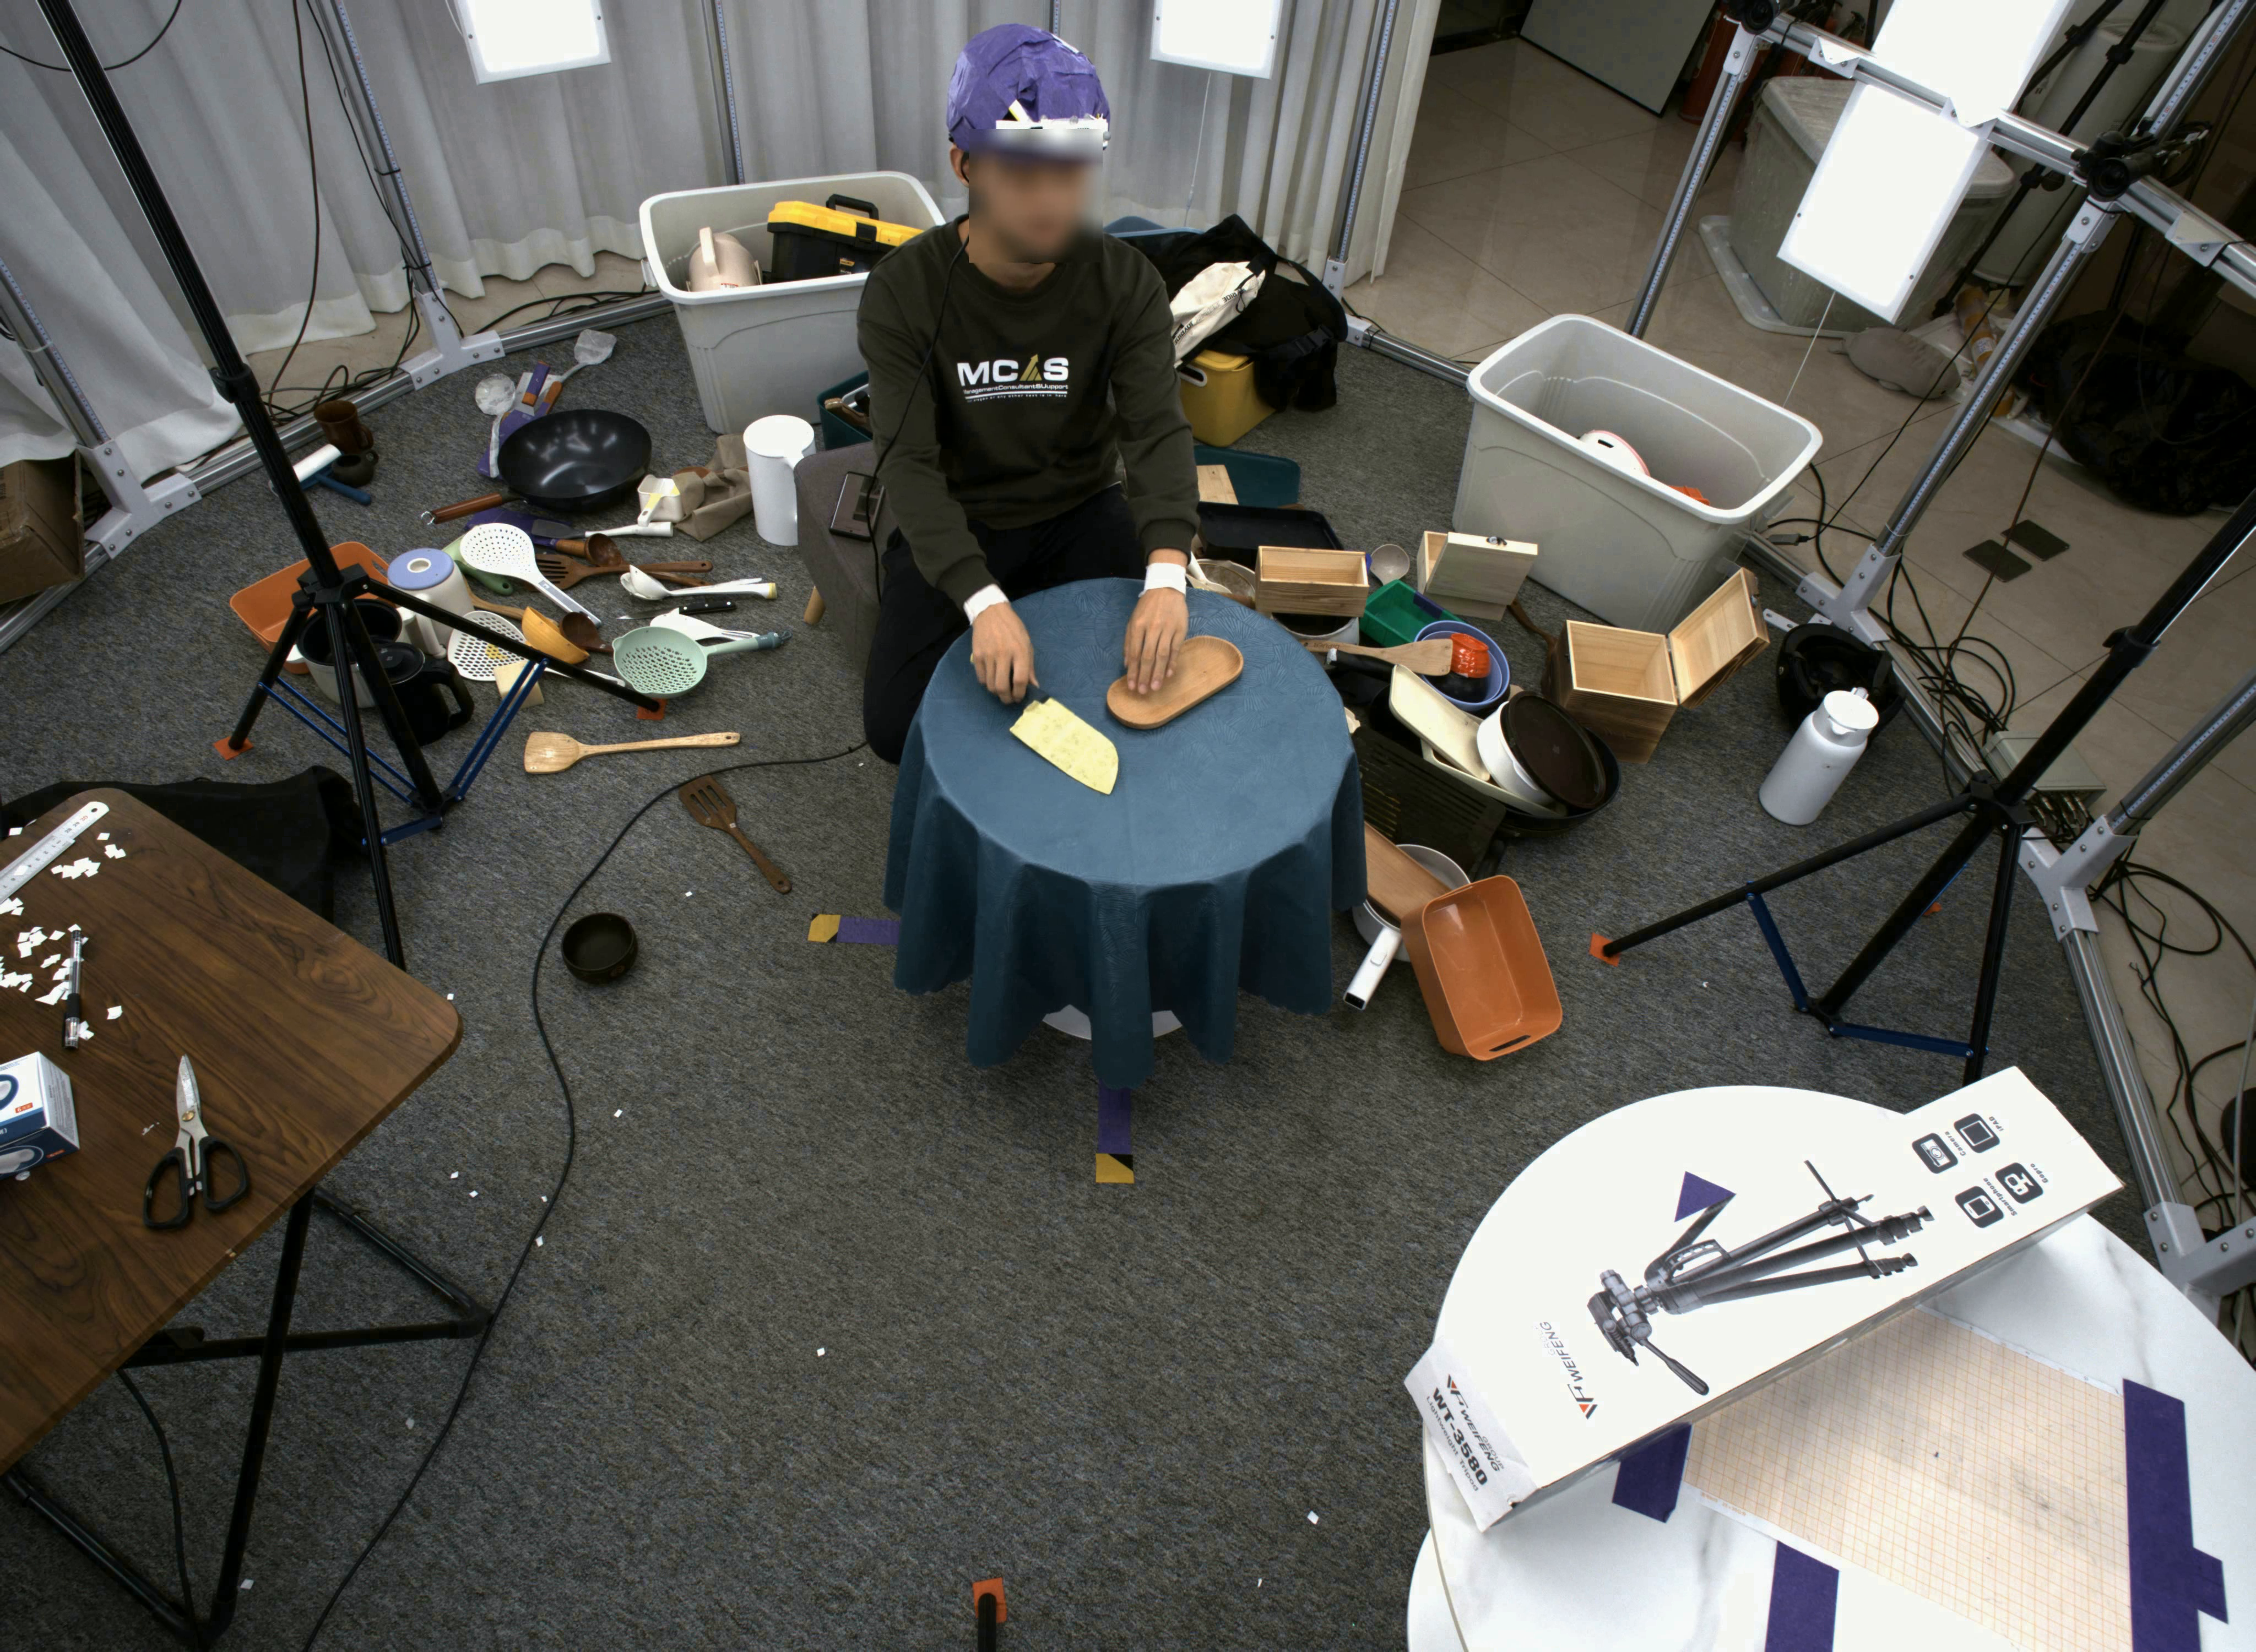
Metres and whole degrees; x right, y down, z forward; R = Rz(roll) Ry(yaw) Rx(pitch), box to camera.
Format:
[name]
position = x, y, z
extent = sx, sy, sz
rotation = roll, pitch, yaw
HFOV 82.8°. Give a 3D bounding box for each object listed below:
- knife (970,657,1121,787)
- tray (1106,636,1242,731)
[knife]
position = -0.121, -0.143, 1.759
extent = 0.293, 0.026, 0.081
rotation = 39, 72, 23
[tray]
position = 0.067, -0.206, 1.840
extent = 0.233, 0.020, 0.103
rotation = -34, 58, -27
